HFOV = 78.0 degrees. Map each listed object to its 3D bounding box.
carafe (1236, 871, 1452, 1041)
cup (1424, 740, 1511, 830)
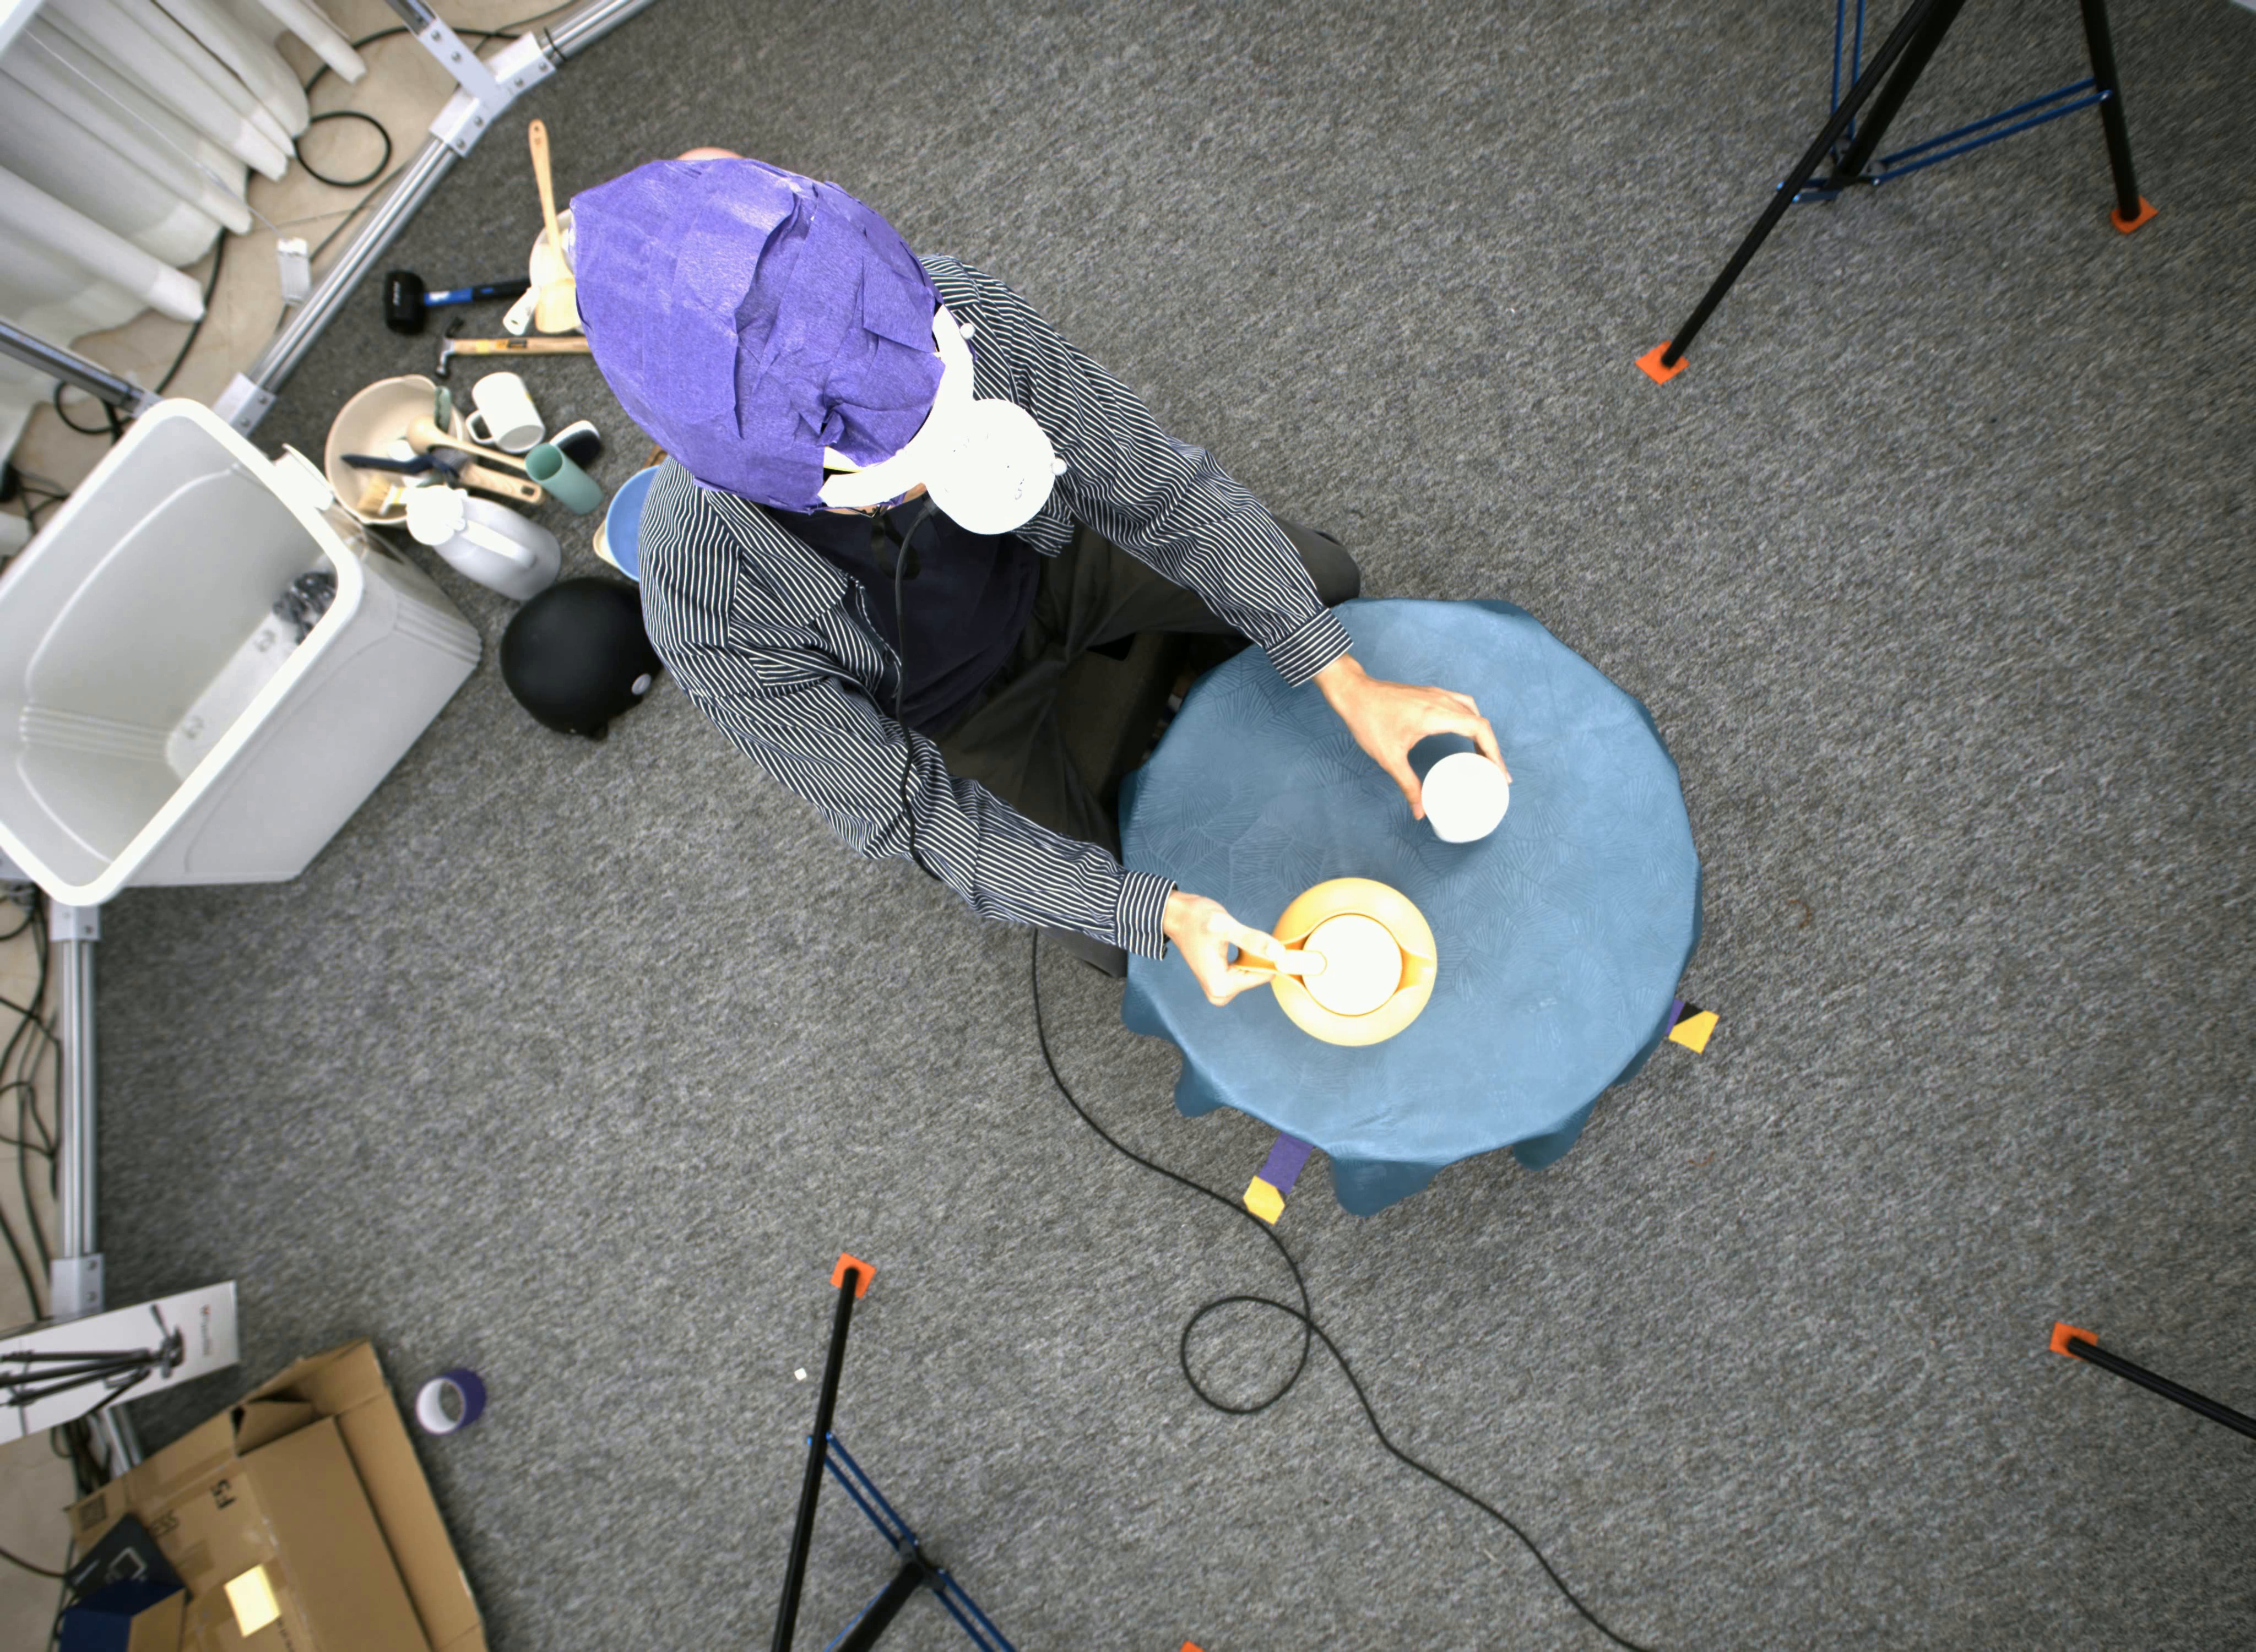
[{"bbox_3d":[0.207,0.121,1.324,0.203,0.260,0.163,2,87,9],"label":"carafe"},{"bbox_3d":[0.333,-0.037,1.358,0.082,0.125,0.081,-1,85,12],"label":"cup"}]
